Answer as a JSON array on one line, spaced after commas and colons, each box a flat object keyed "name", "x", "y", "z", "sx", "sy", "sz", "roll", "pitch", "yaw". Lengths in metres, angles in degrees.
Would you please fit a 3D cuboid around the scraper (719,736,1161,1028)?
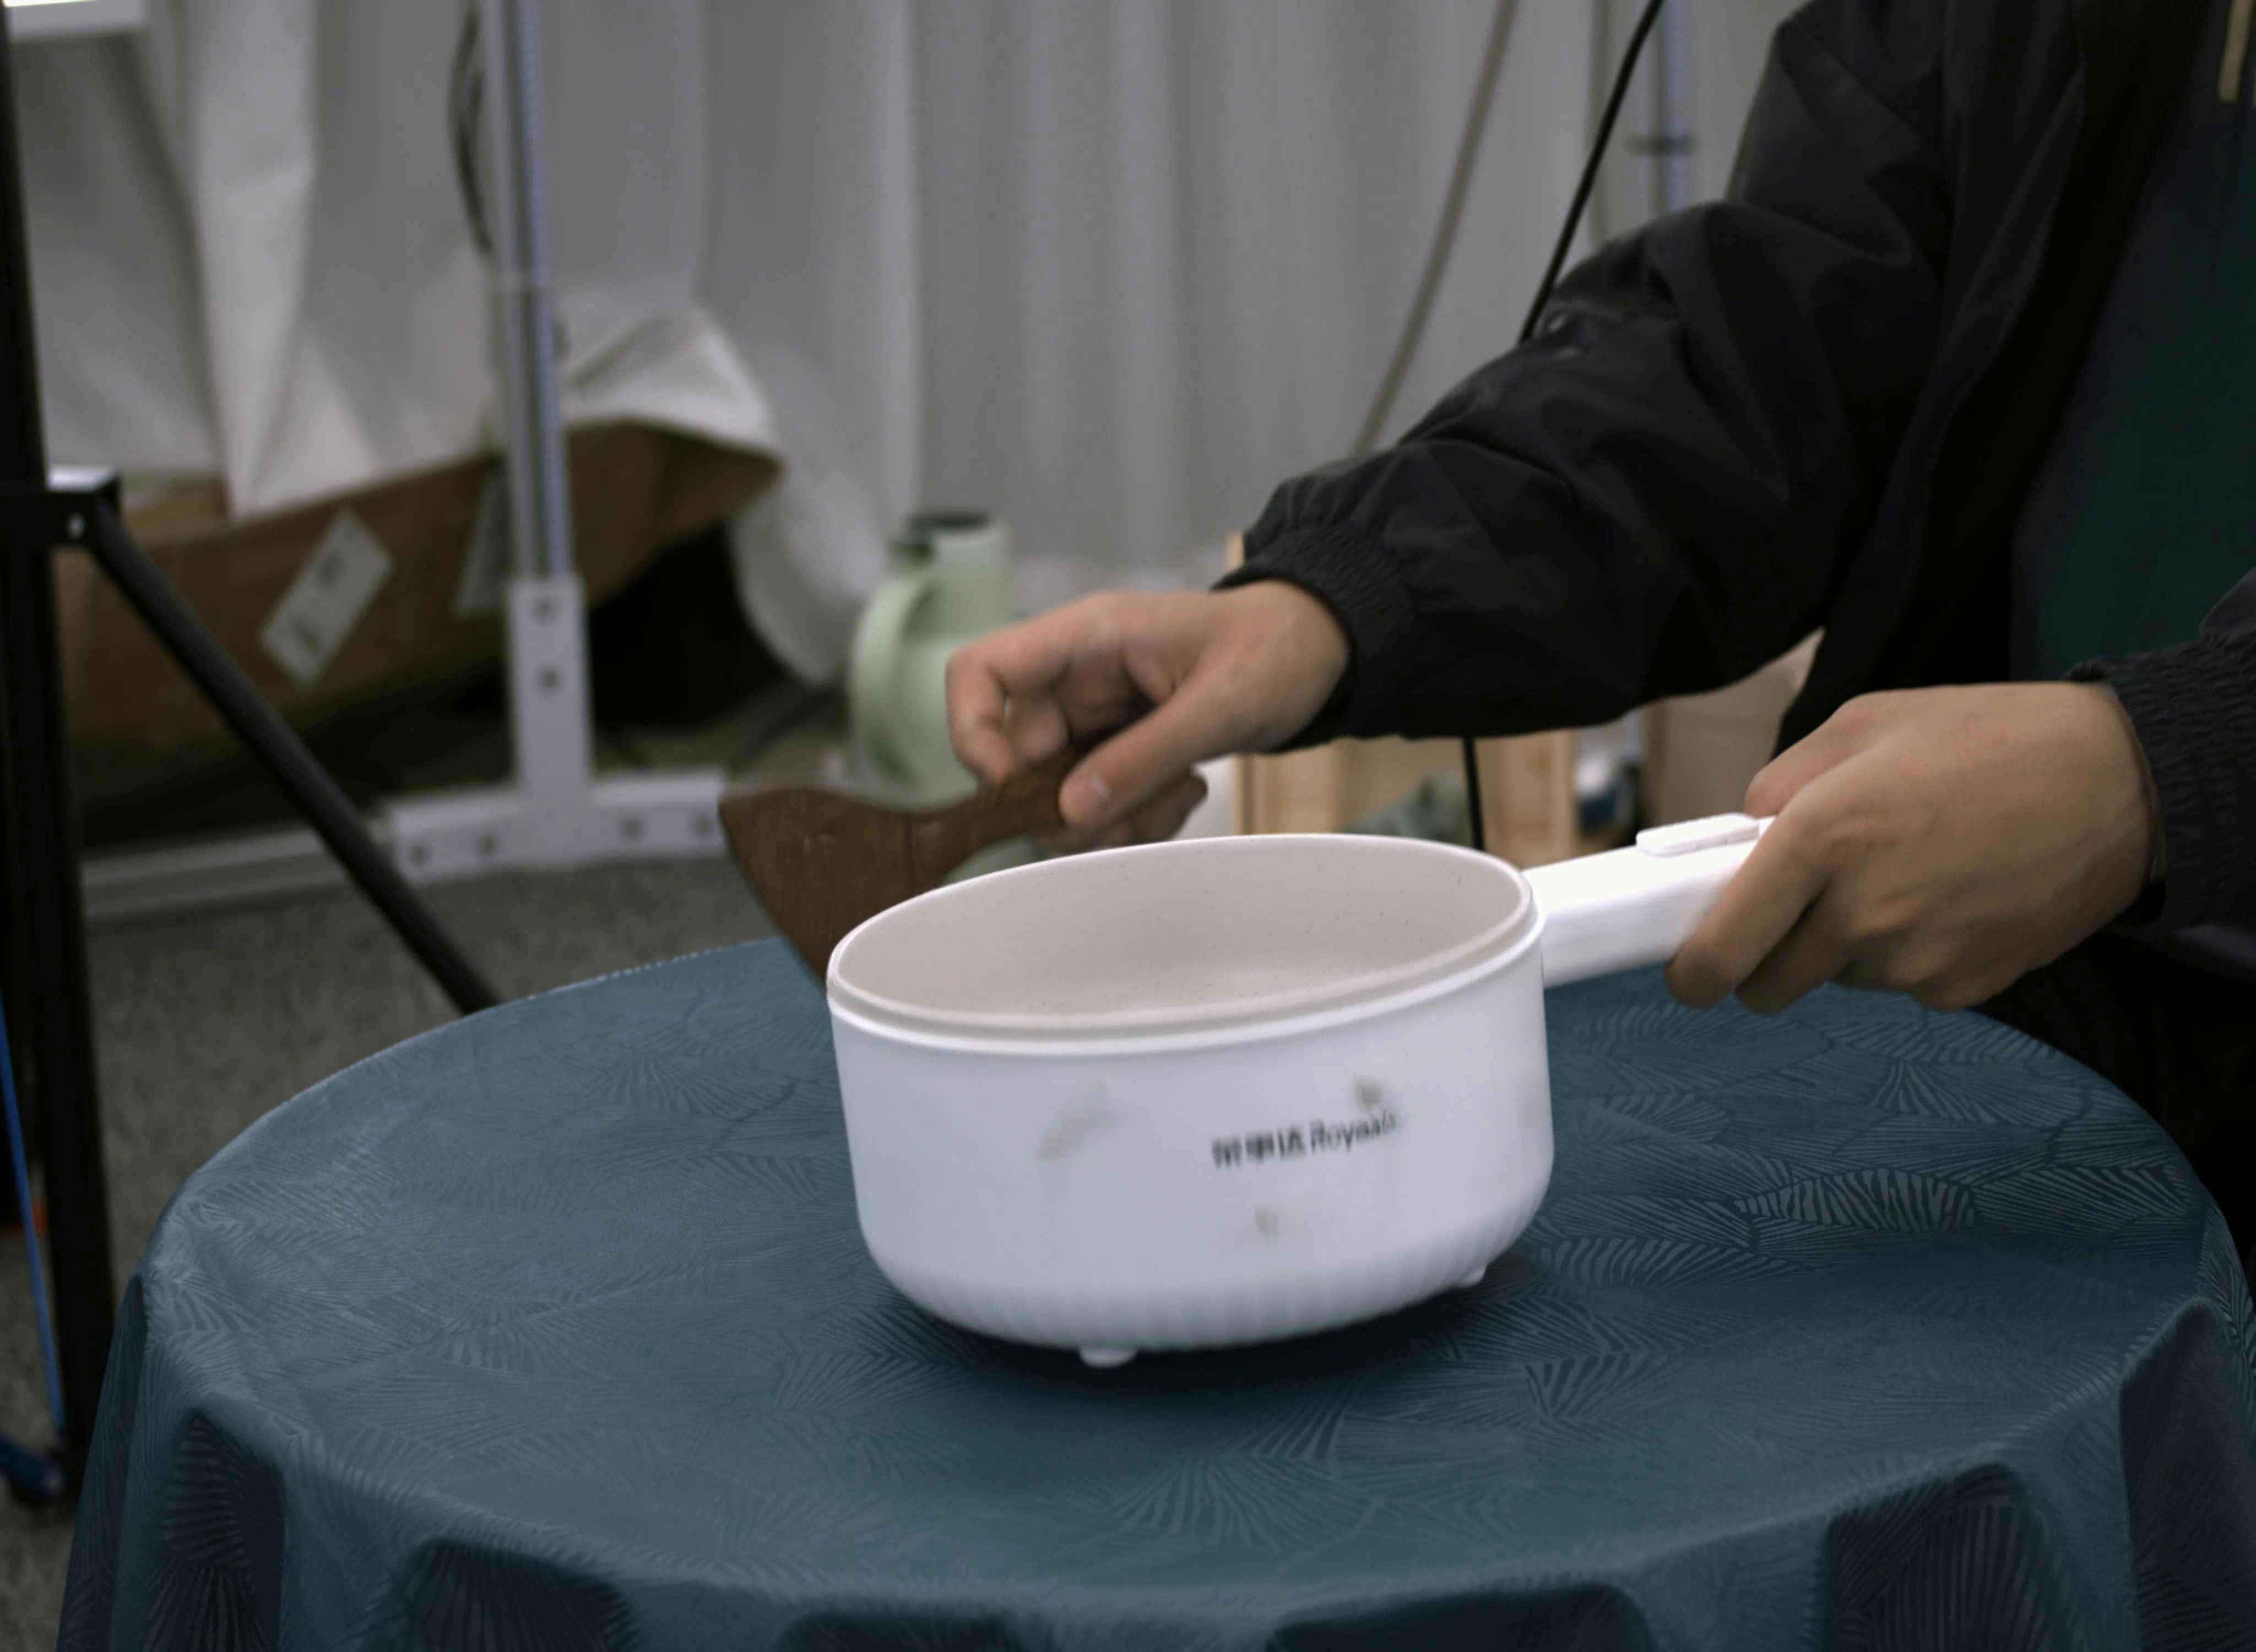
[{"name": "scraper", "x": -0.053, "y": 0.007, "z": 1.680, "sx": 0.011, "sy": 0.076, "sz": 0.207, "roll": -35, "pitch": -7, "yaw": 38}]

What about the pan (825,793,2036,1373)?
[{"name": "pan", "x": 0.091, "y": 0.066, "z": 1.485, "sx": 0.348, "sy": 0.102, "sz": 0.204, "roll": -9, "pitch": 14, "yaw": -18}]
